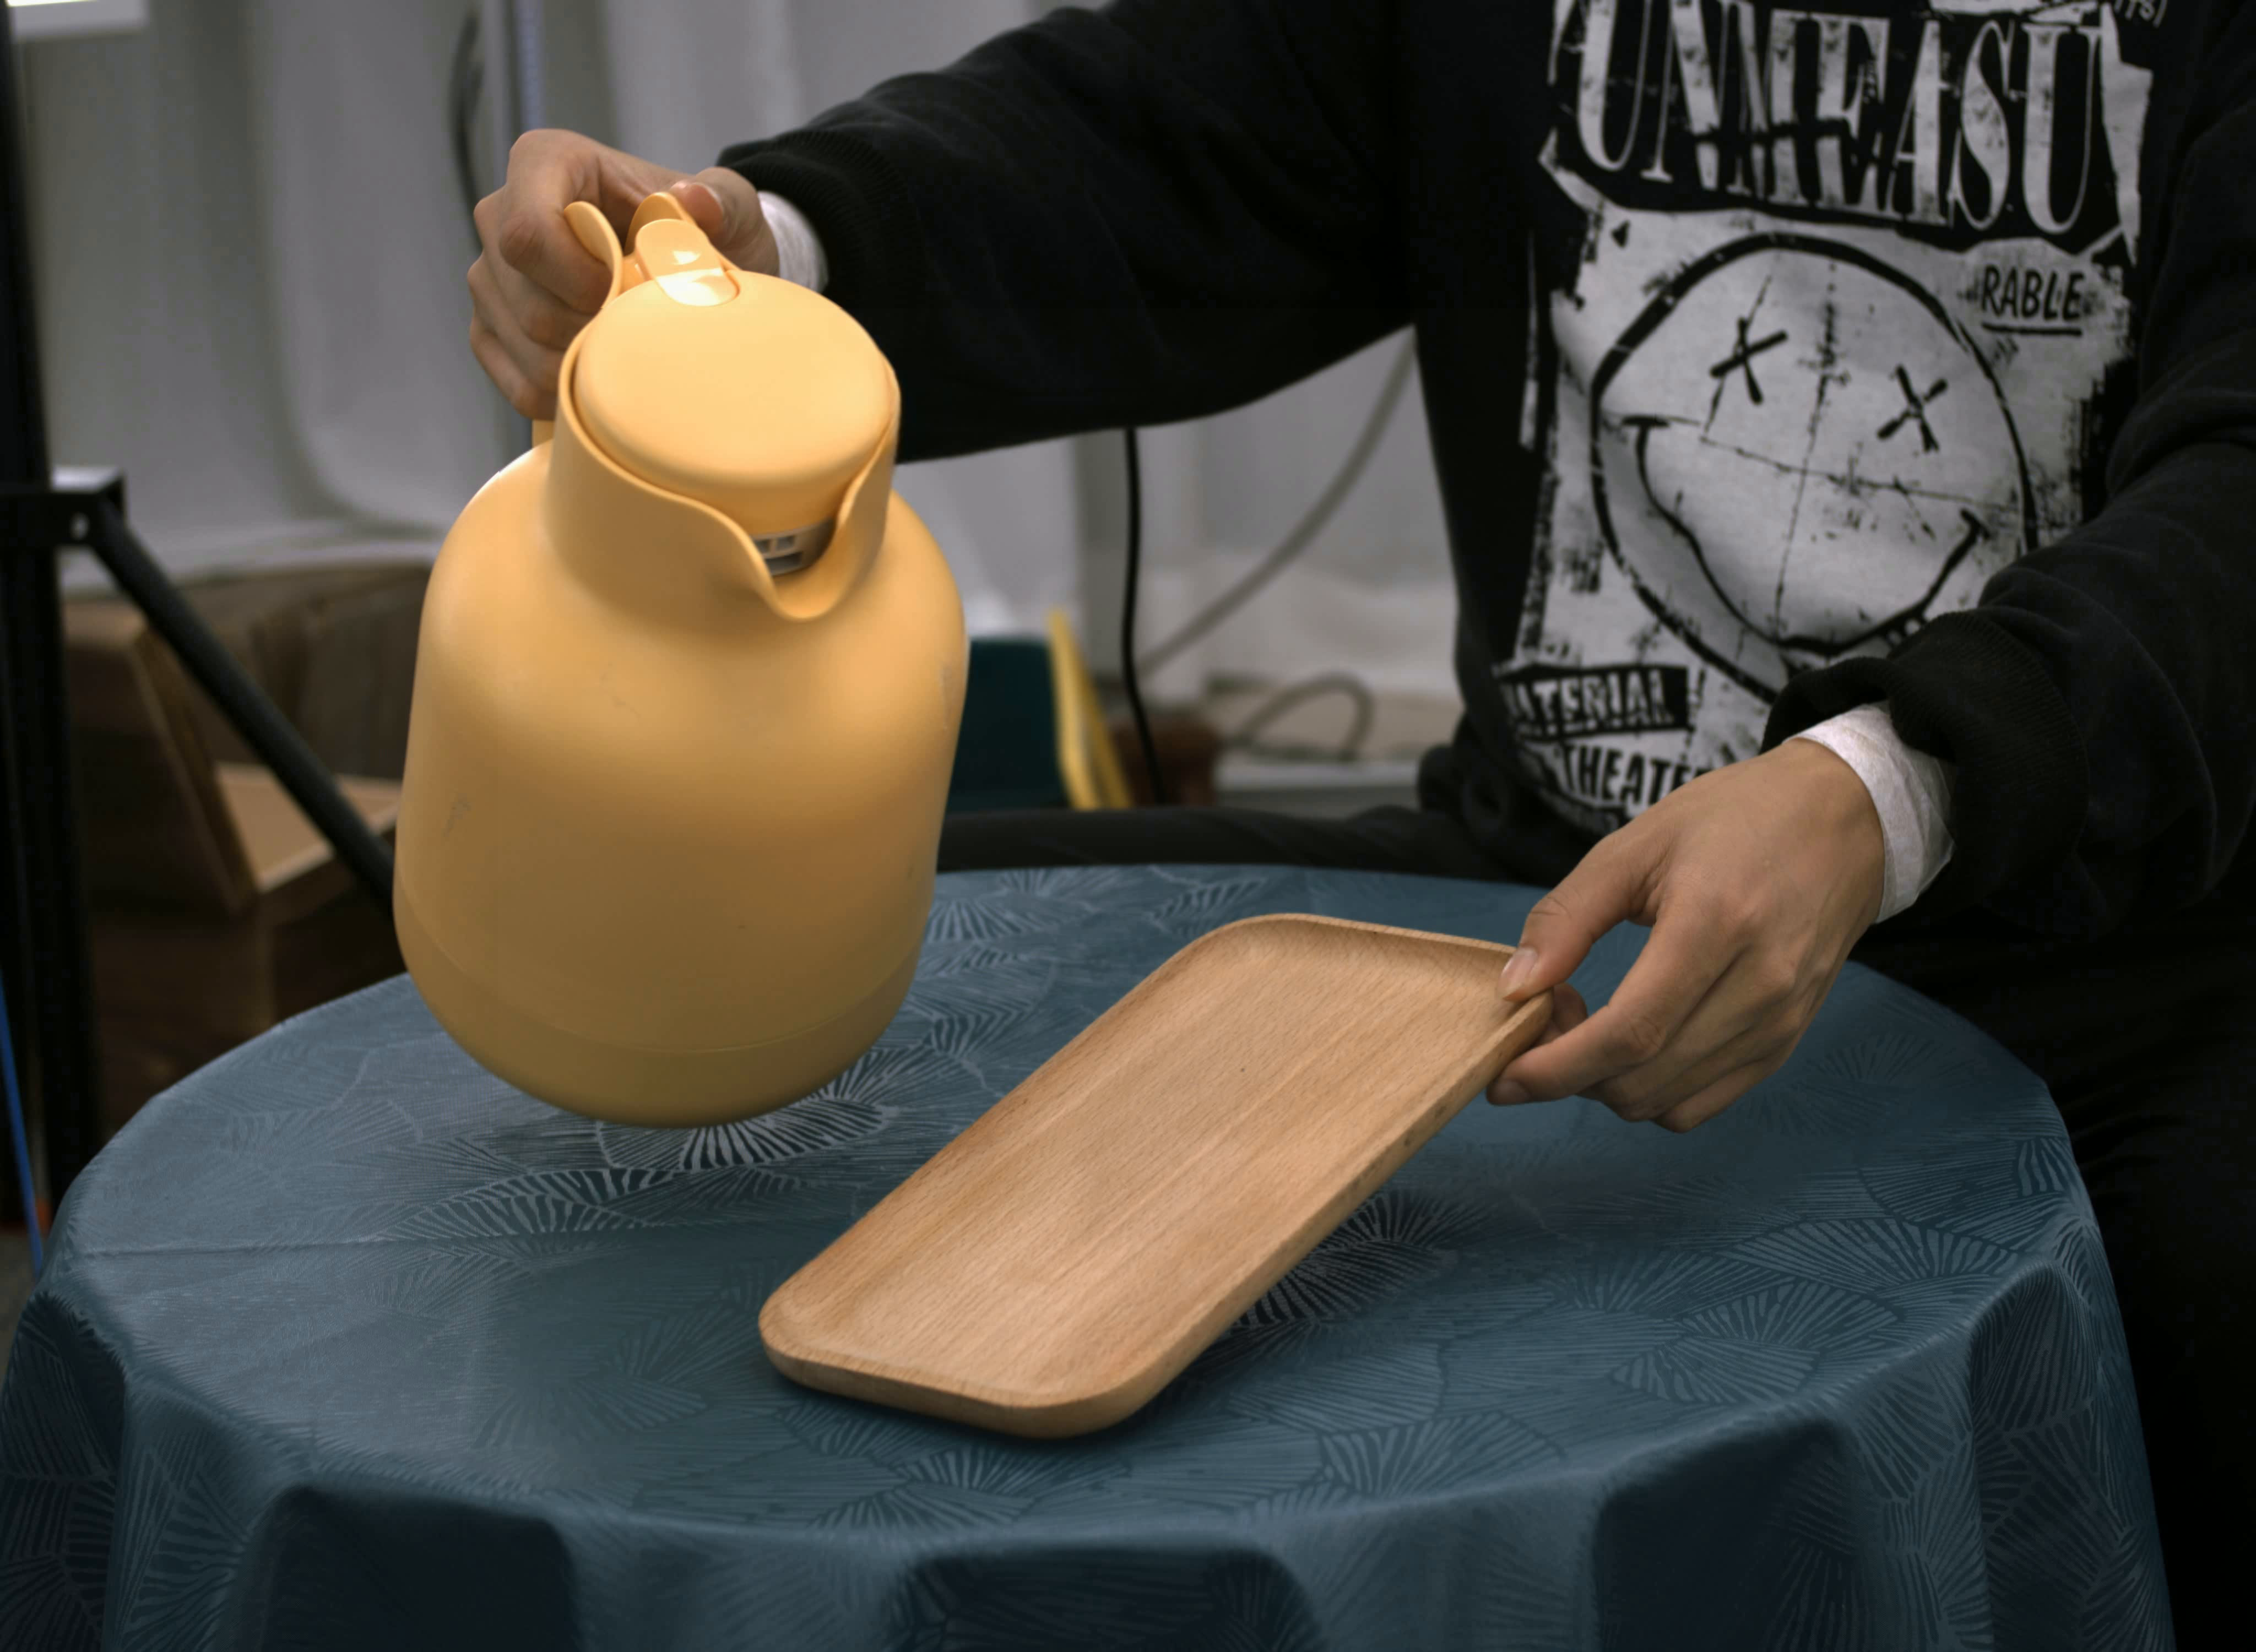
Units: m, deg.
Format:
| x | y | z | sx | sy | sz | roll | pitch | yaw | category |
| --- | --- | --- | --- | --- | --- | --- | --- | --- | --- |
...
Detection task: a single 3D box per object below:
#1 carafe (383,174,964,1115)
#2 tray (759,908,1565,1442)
| x | y | z | sx | sy | sz | roll | pitch | yaw | category |
| --- | --- | --- | --- | --- | --- | --- | --- | --- | --- |
| -0.134 | -0.060 | 1.578 | 0.160 | 0.260 | 0.206 | -5 | 49 | -19 | carafe |
| 0.014 | 0.093 | 1.469 | 0.133 | 0.023 | 0.247 | 11 | 34 | 37 | tray |
